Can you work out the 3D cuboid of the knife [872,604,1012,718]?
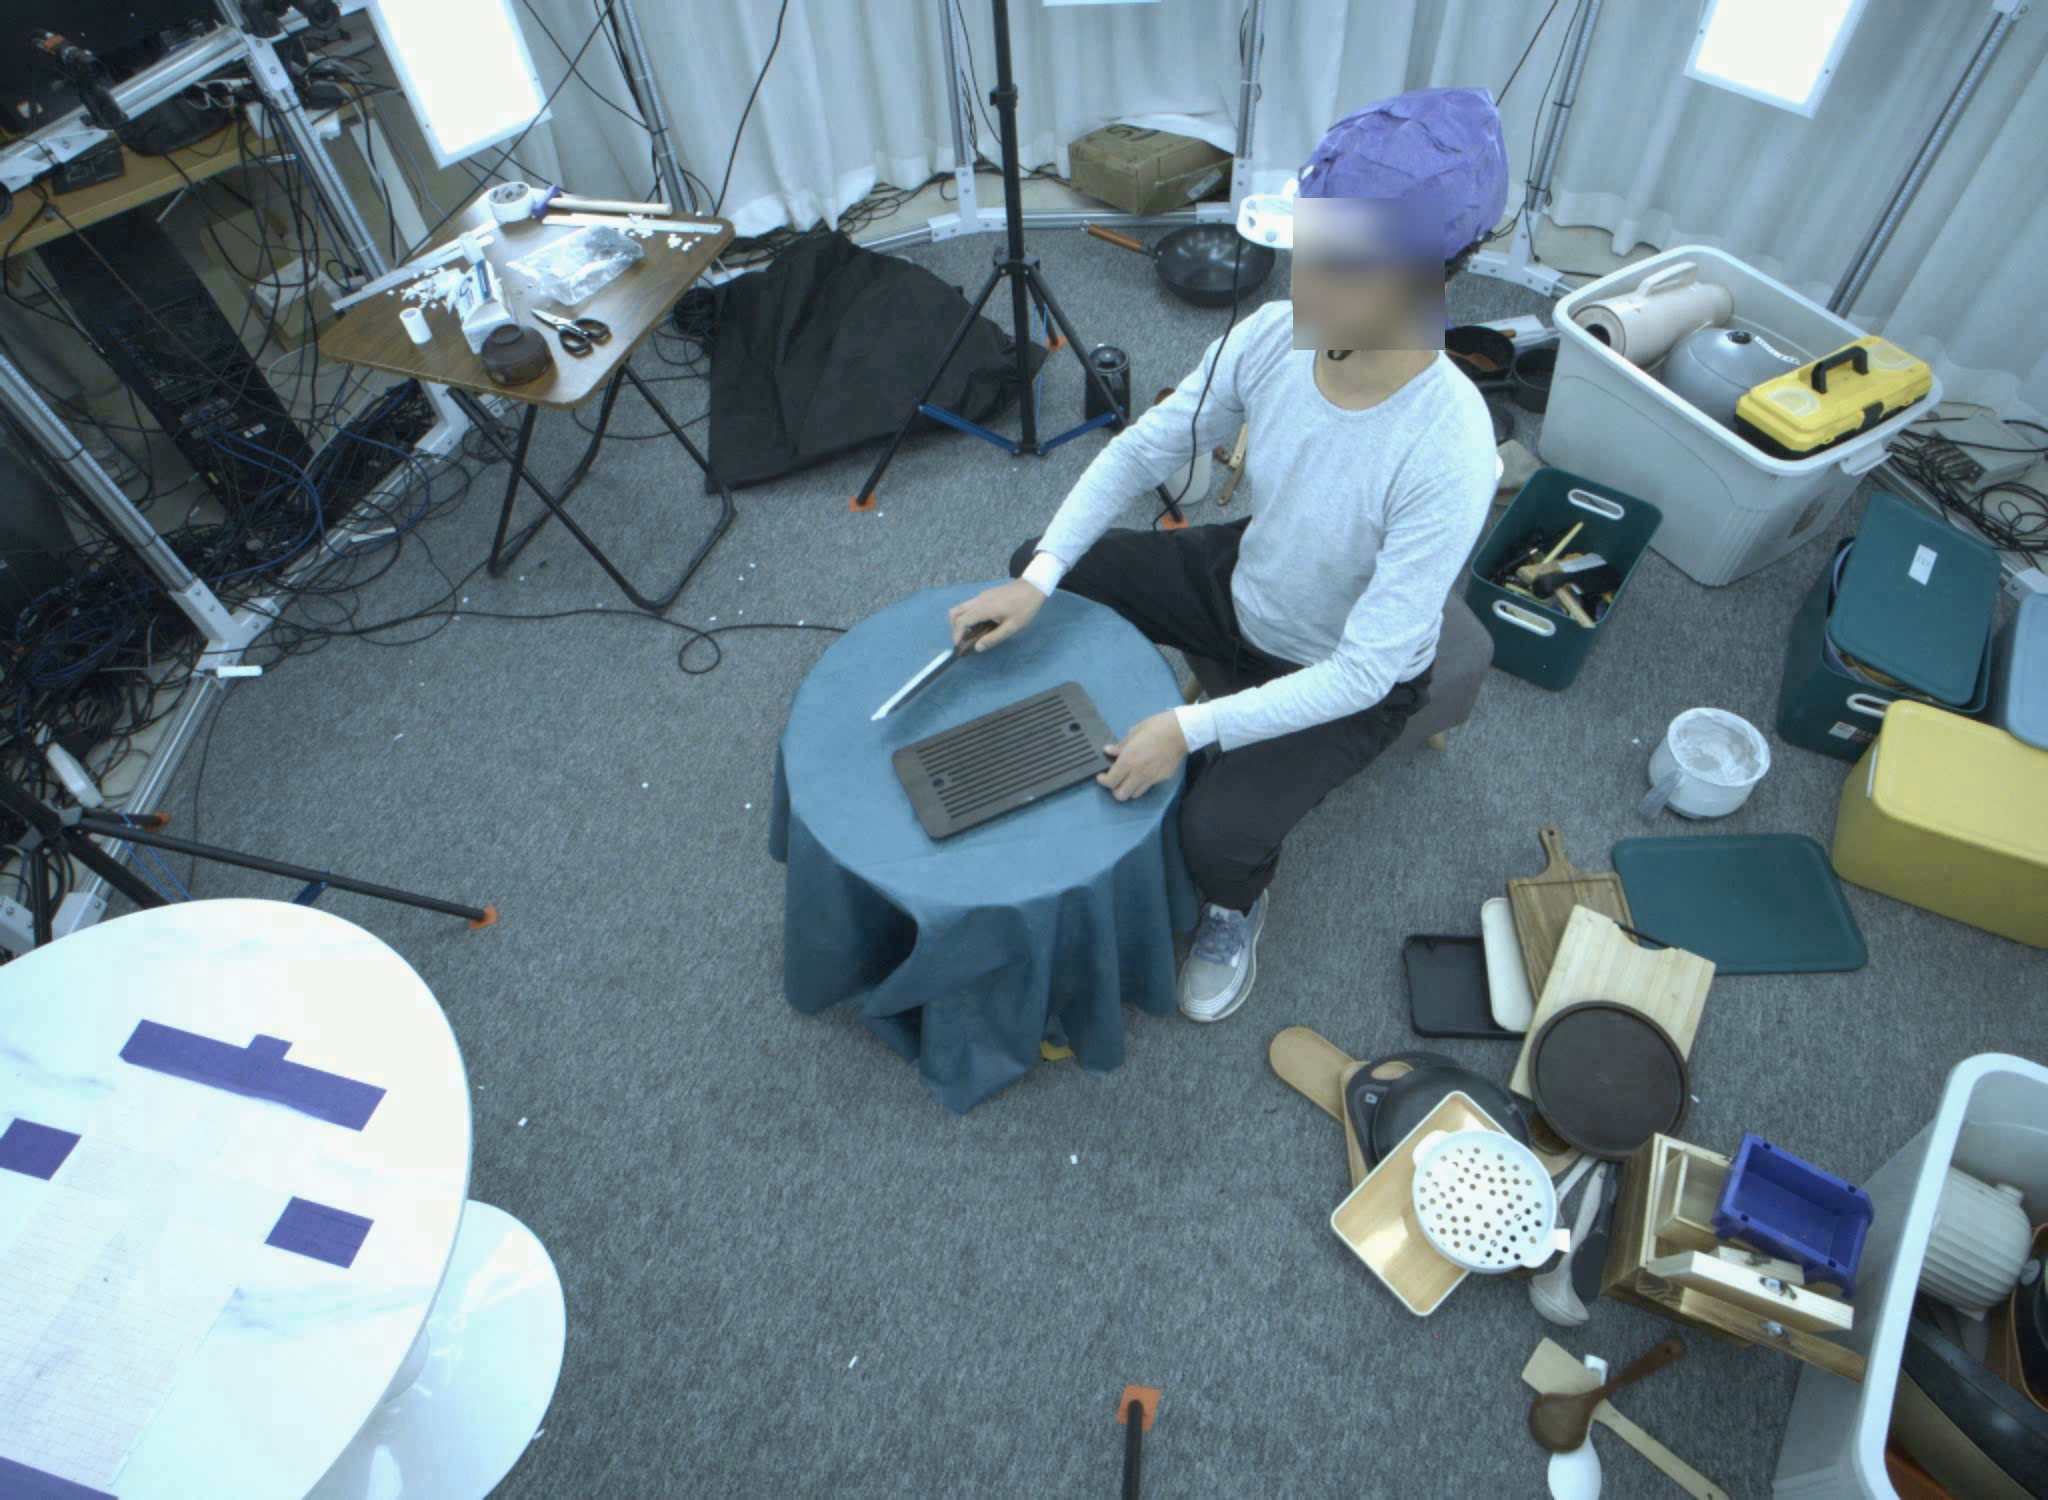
[{"bbox_3d":[-0.121,-0.133,1.835,0.291,0.020,0.049,-42,29,-26],"label":"knife"}]

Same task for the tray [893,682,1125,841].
[{"bbox_3d":[-0.022,0.014,1.775,0.308,0.019,0.167,-21,56,-14],"label":"tray"}]
